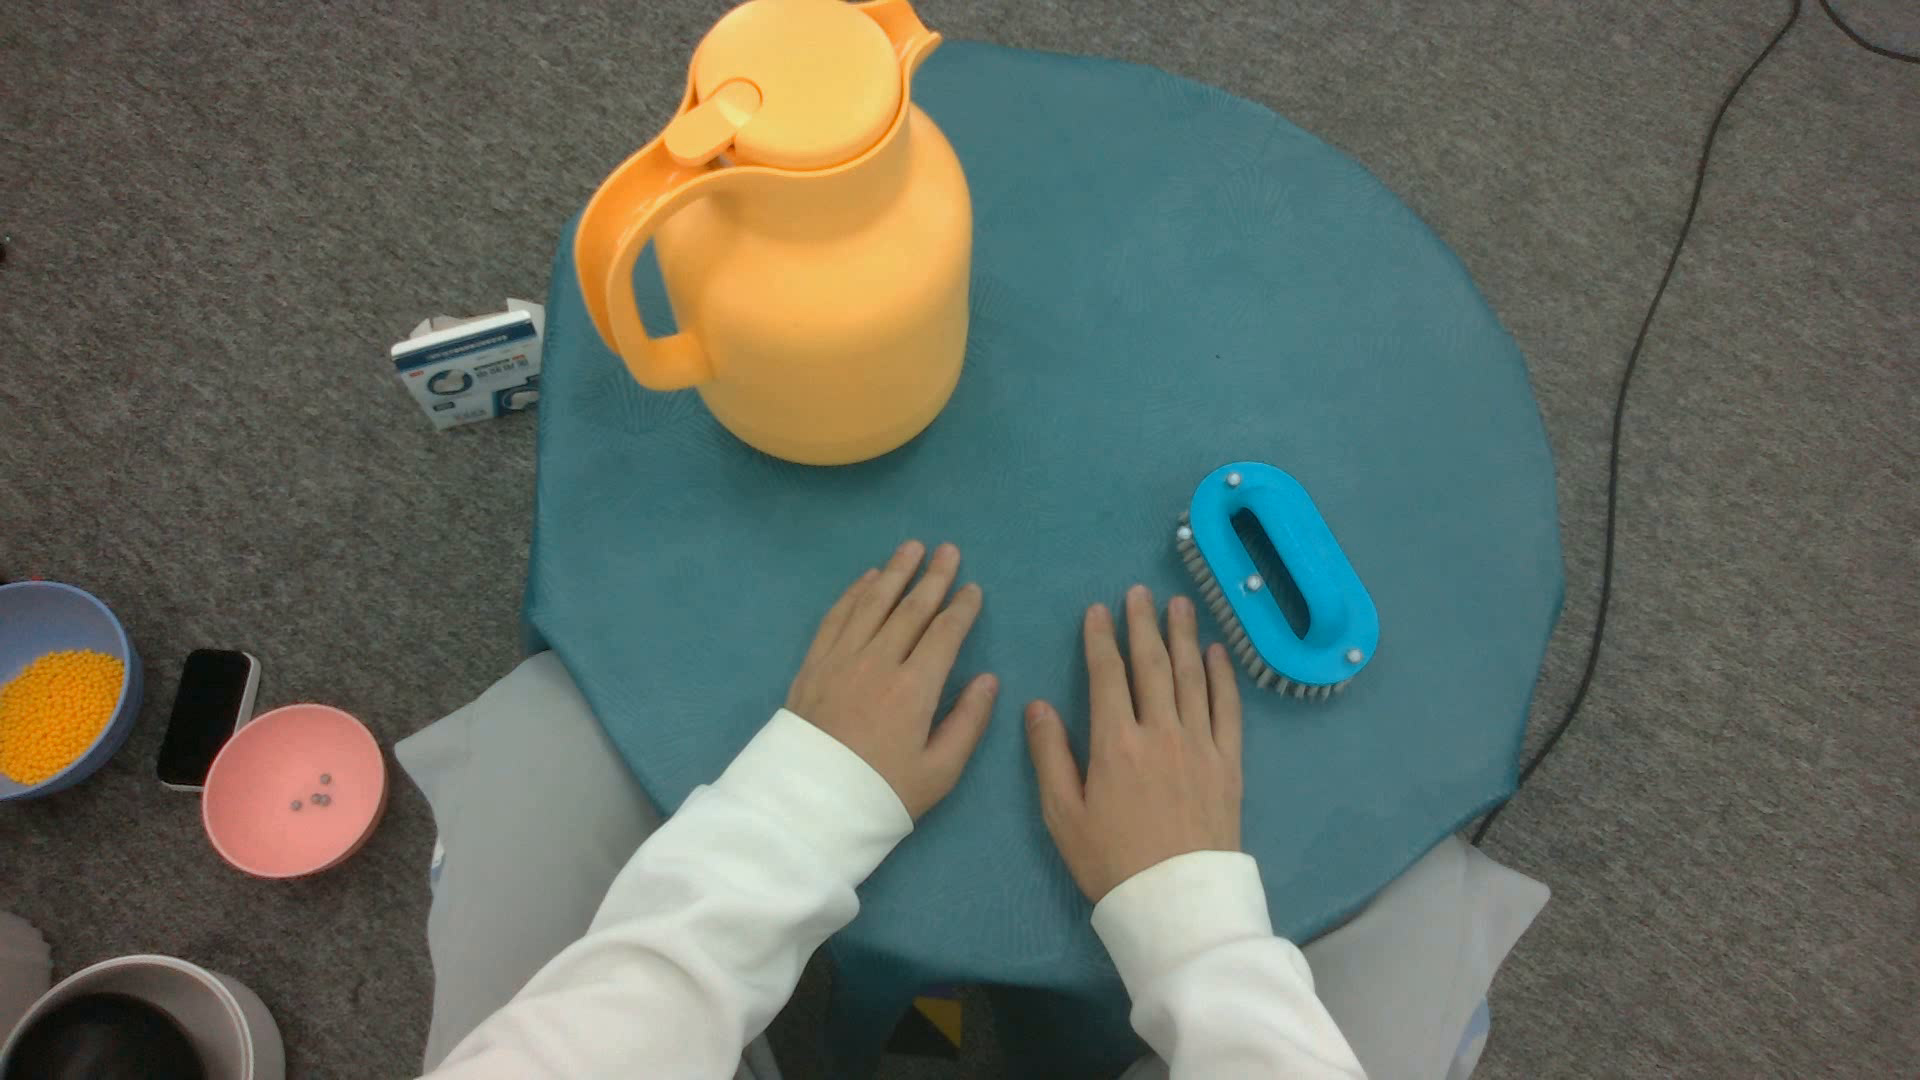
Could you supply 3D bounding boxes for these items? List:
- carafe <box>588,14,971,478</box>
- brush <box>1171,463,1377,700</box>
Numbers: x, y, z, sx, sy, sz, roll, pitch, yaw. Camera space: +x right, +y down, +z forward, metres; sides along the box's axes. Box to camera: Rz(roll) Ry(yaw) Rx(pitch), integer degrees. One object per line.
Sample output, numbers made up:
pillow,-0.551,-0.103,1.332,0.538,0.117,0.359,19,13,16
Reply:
carafe,-0.091,-0.141,0.718,0.203,0.259,0.163,-36,71,-17
brush,0.180,0.015,0.769,0.084,0.063,0.142,-20,70,-16
